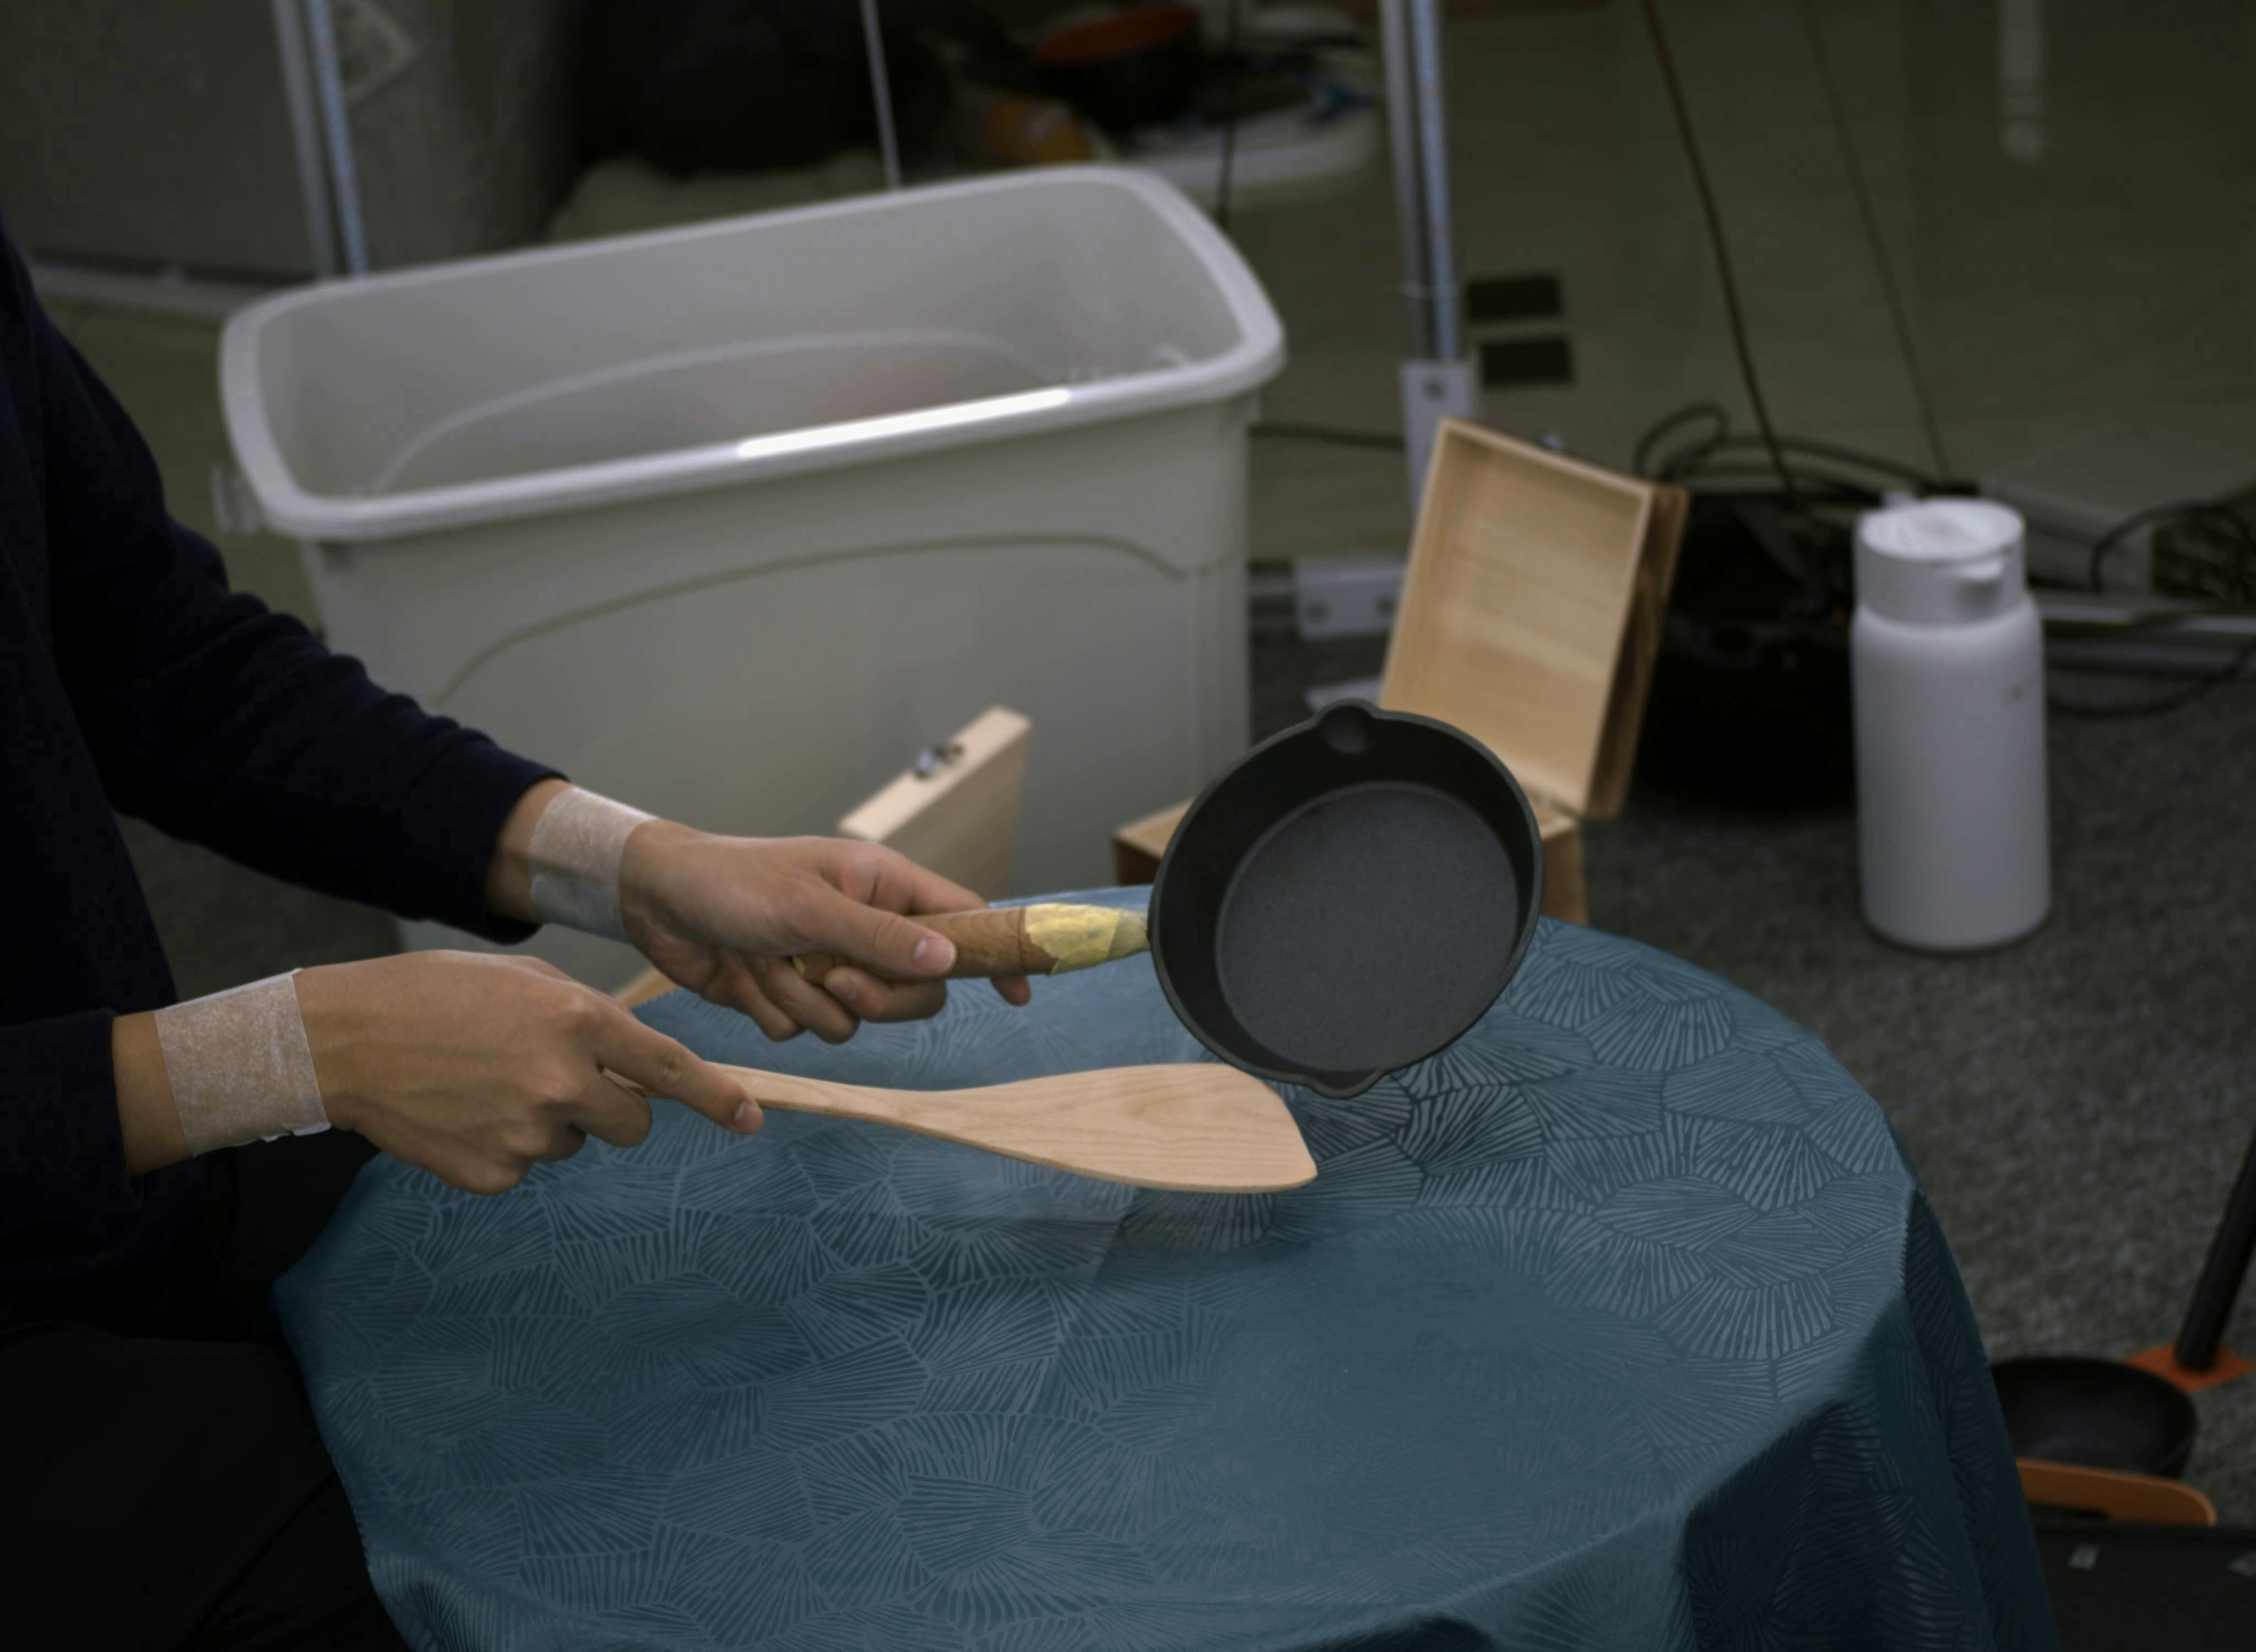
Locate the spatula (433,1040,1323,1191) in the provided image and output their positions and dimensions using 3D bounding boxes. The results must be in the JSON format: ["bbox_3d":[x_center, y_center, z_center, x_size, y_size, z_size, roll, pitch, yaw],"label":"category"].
[{"bbox_3d":[-0.092,0.098,2.084,0.327,0.017,0.078,6,32,-13],"label":"spatula"}]

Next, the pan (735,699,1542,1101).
[{"bbox_3d":[0.005,0.038,2.183,0.324,0.050,0.167,-6,64,18],"label":"pan"}]
